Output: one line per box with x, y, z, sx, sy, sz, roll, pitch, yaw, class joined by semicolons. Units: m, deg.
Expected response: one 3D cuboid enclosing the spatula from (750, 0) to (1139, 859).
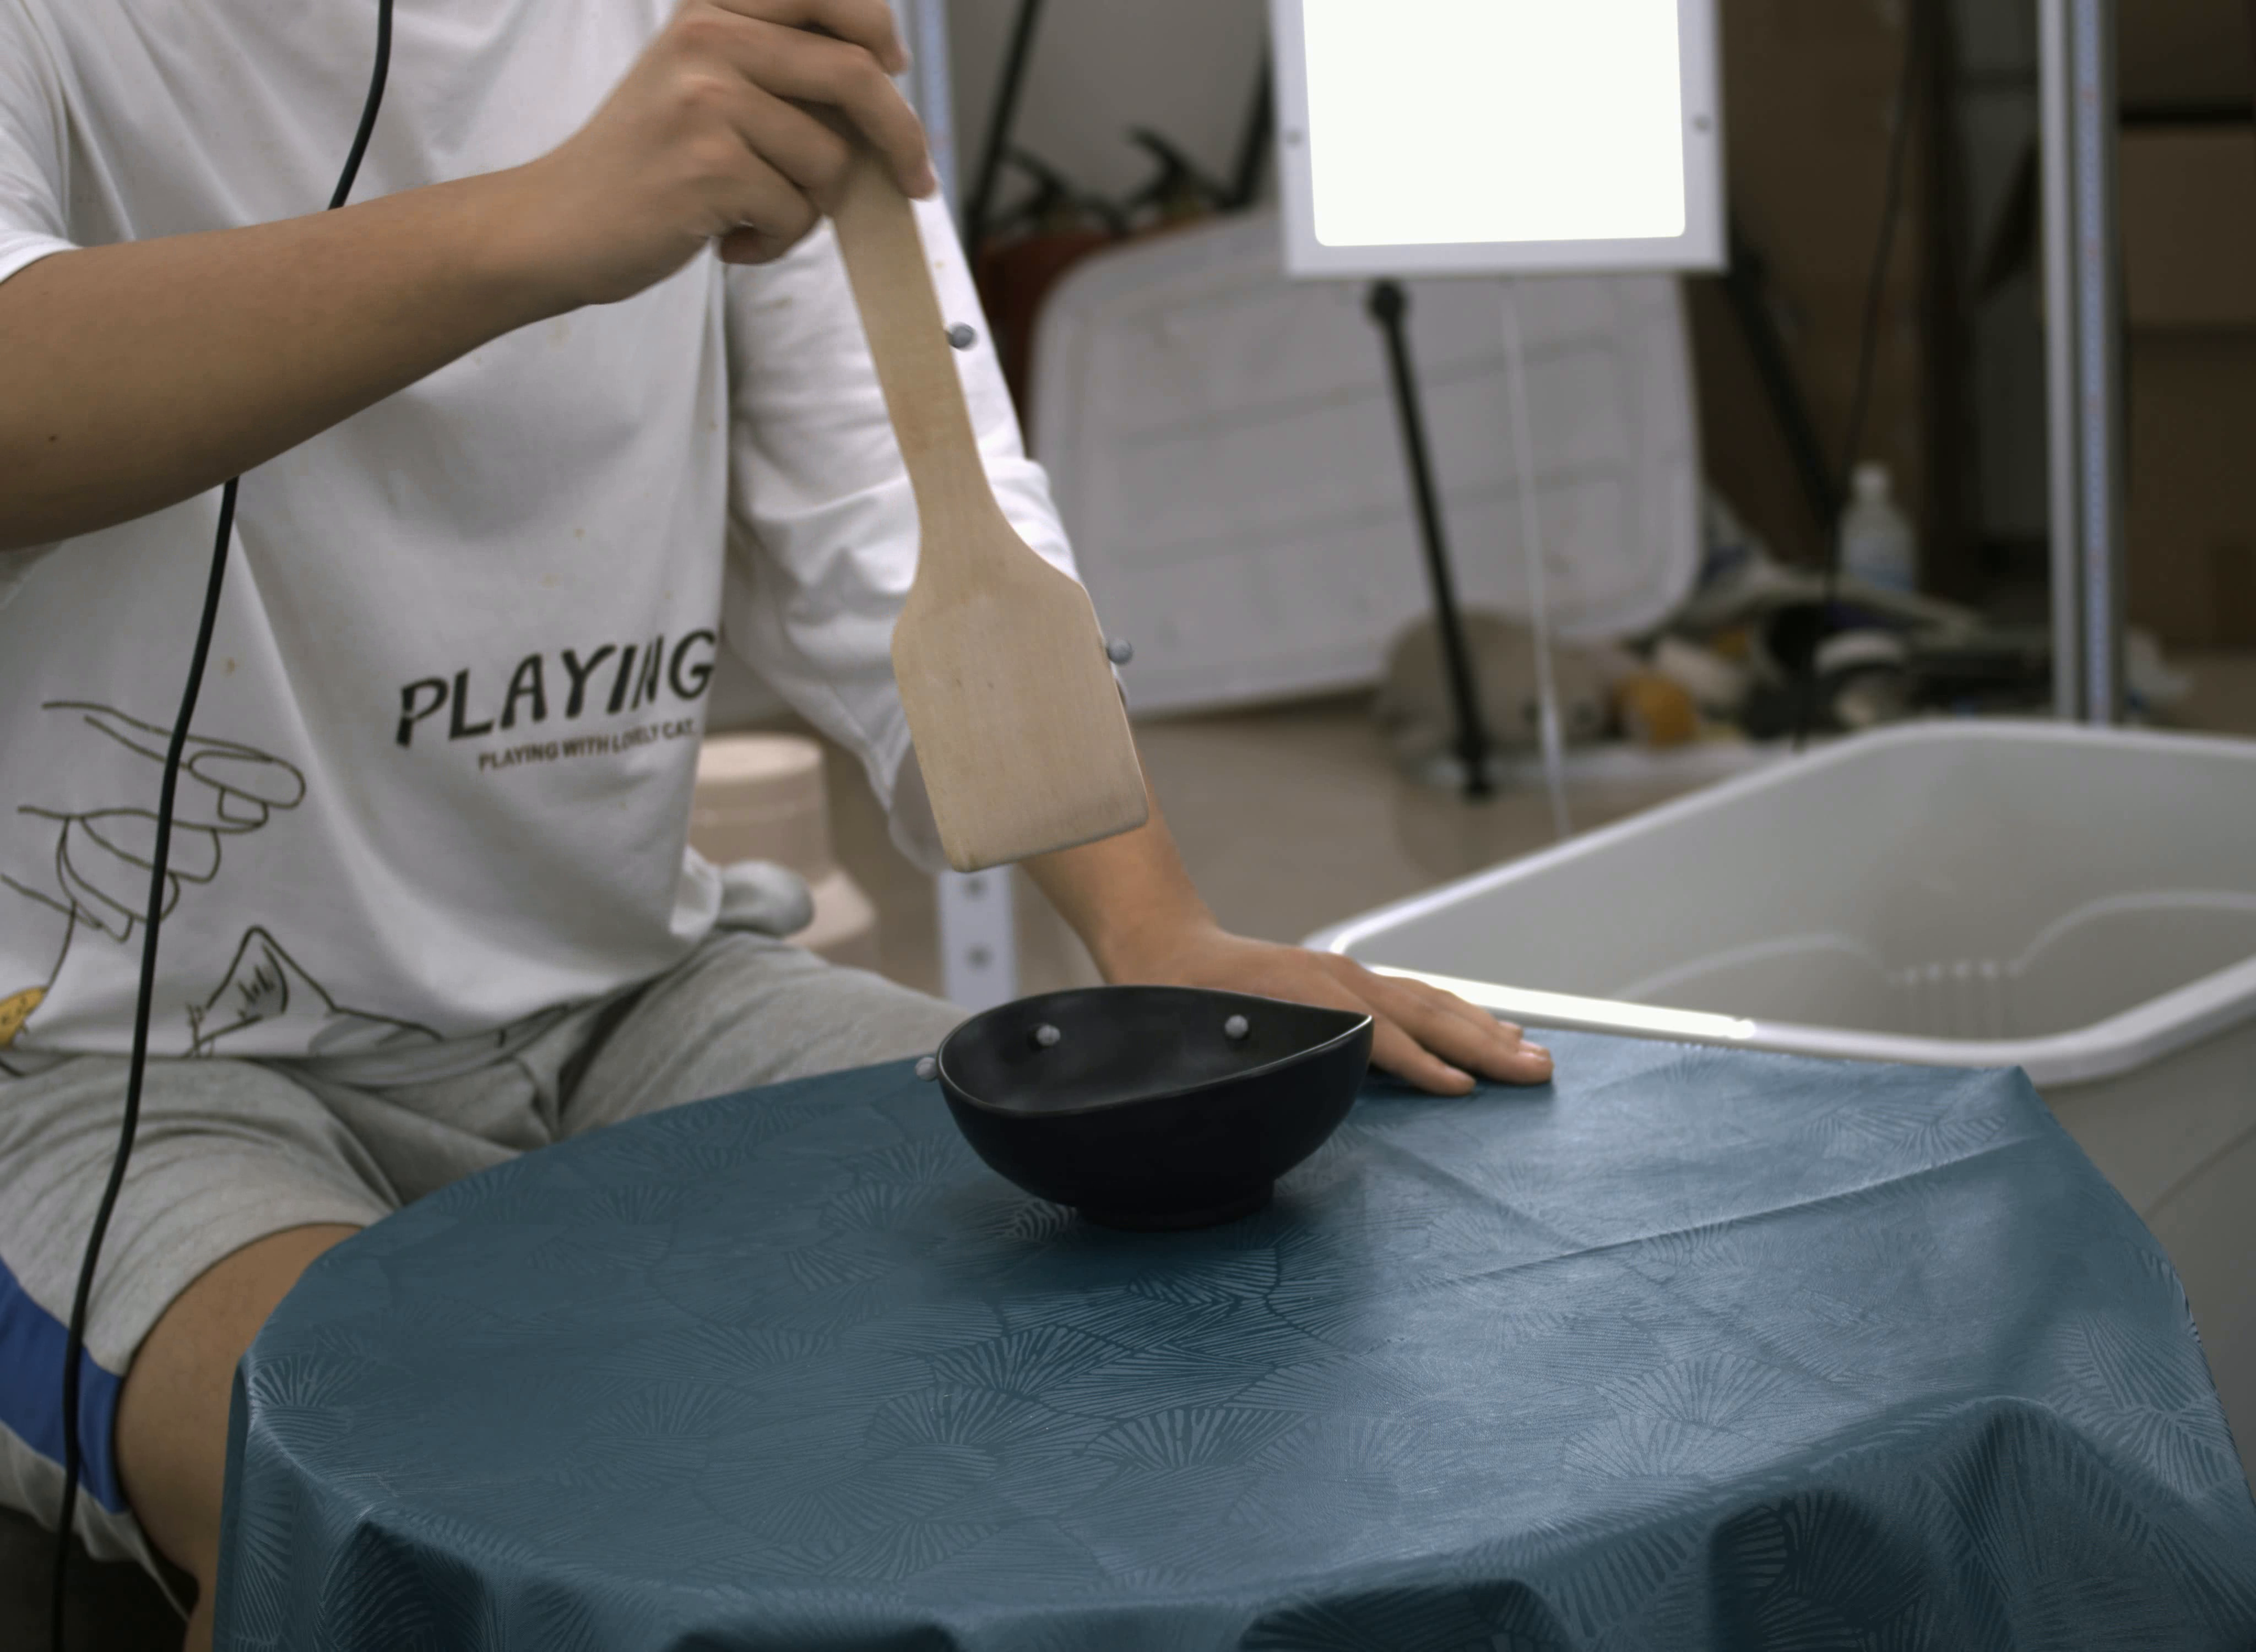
-0.067;-0.134;1.769;0.072;0.293;0.010;-14;11;10;spatula

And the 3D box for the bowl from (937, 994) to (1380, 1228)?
0.013;0.098;1.878;0.140;0.067;0.166;6;15;40;bowl
